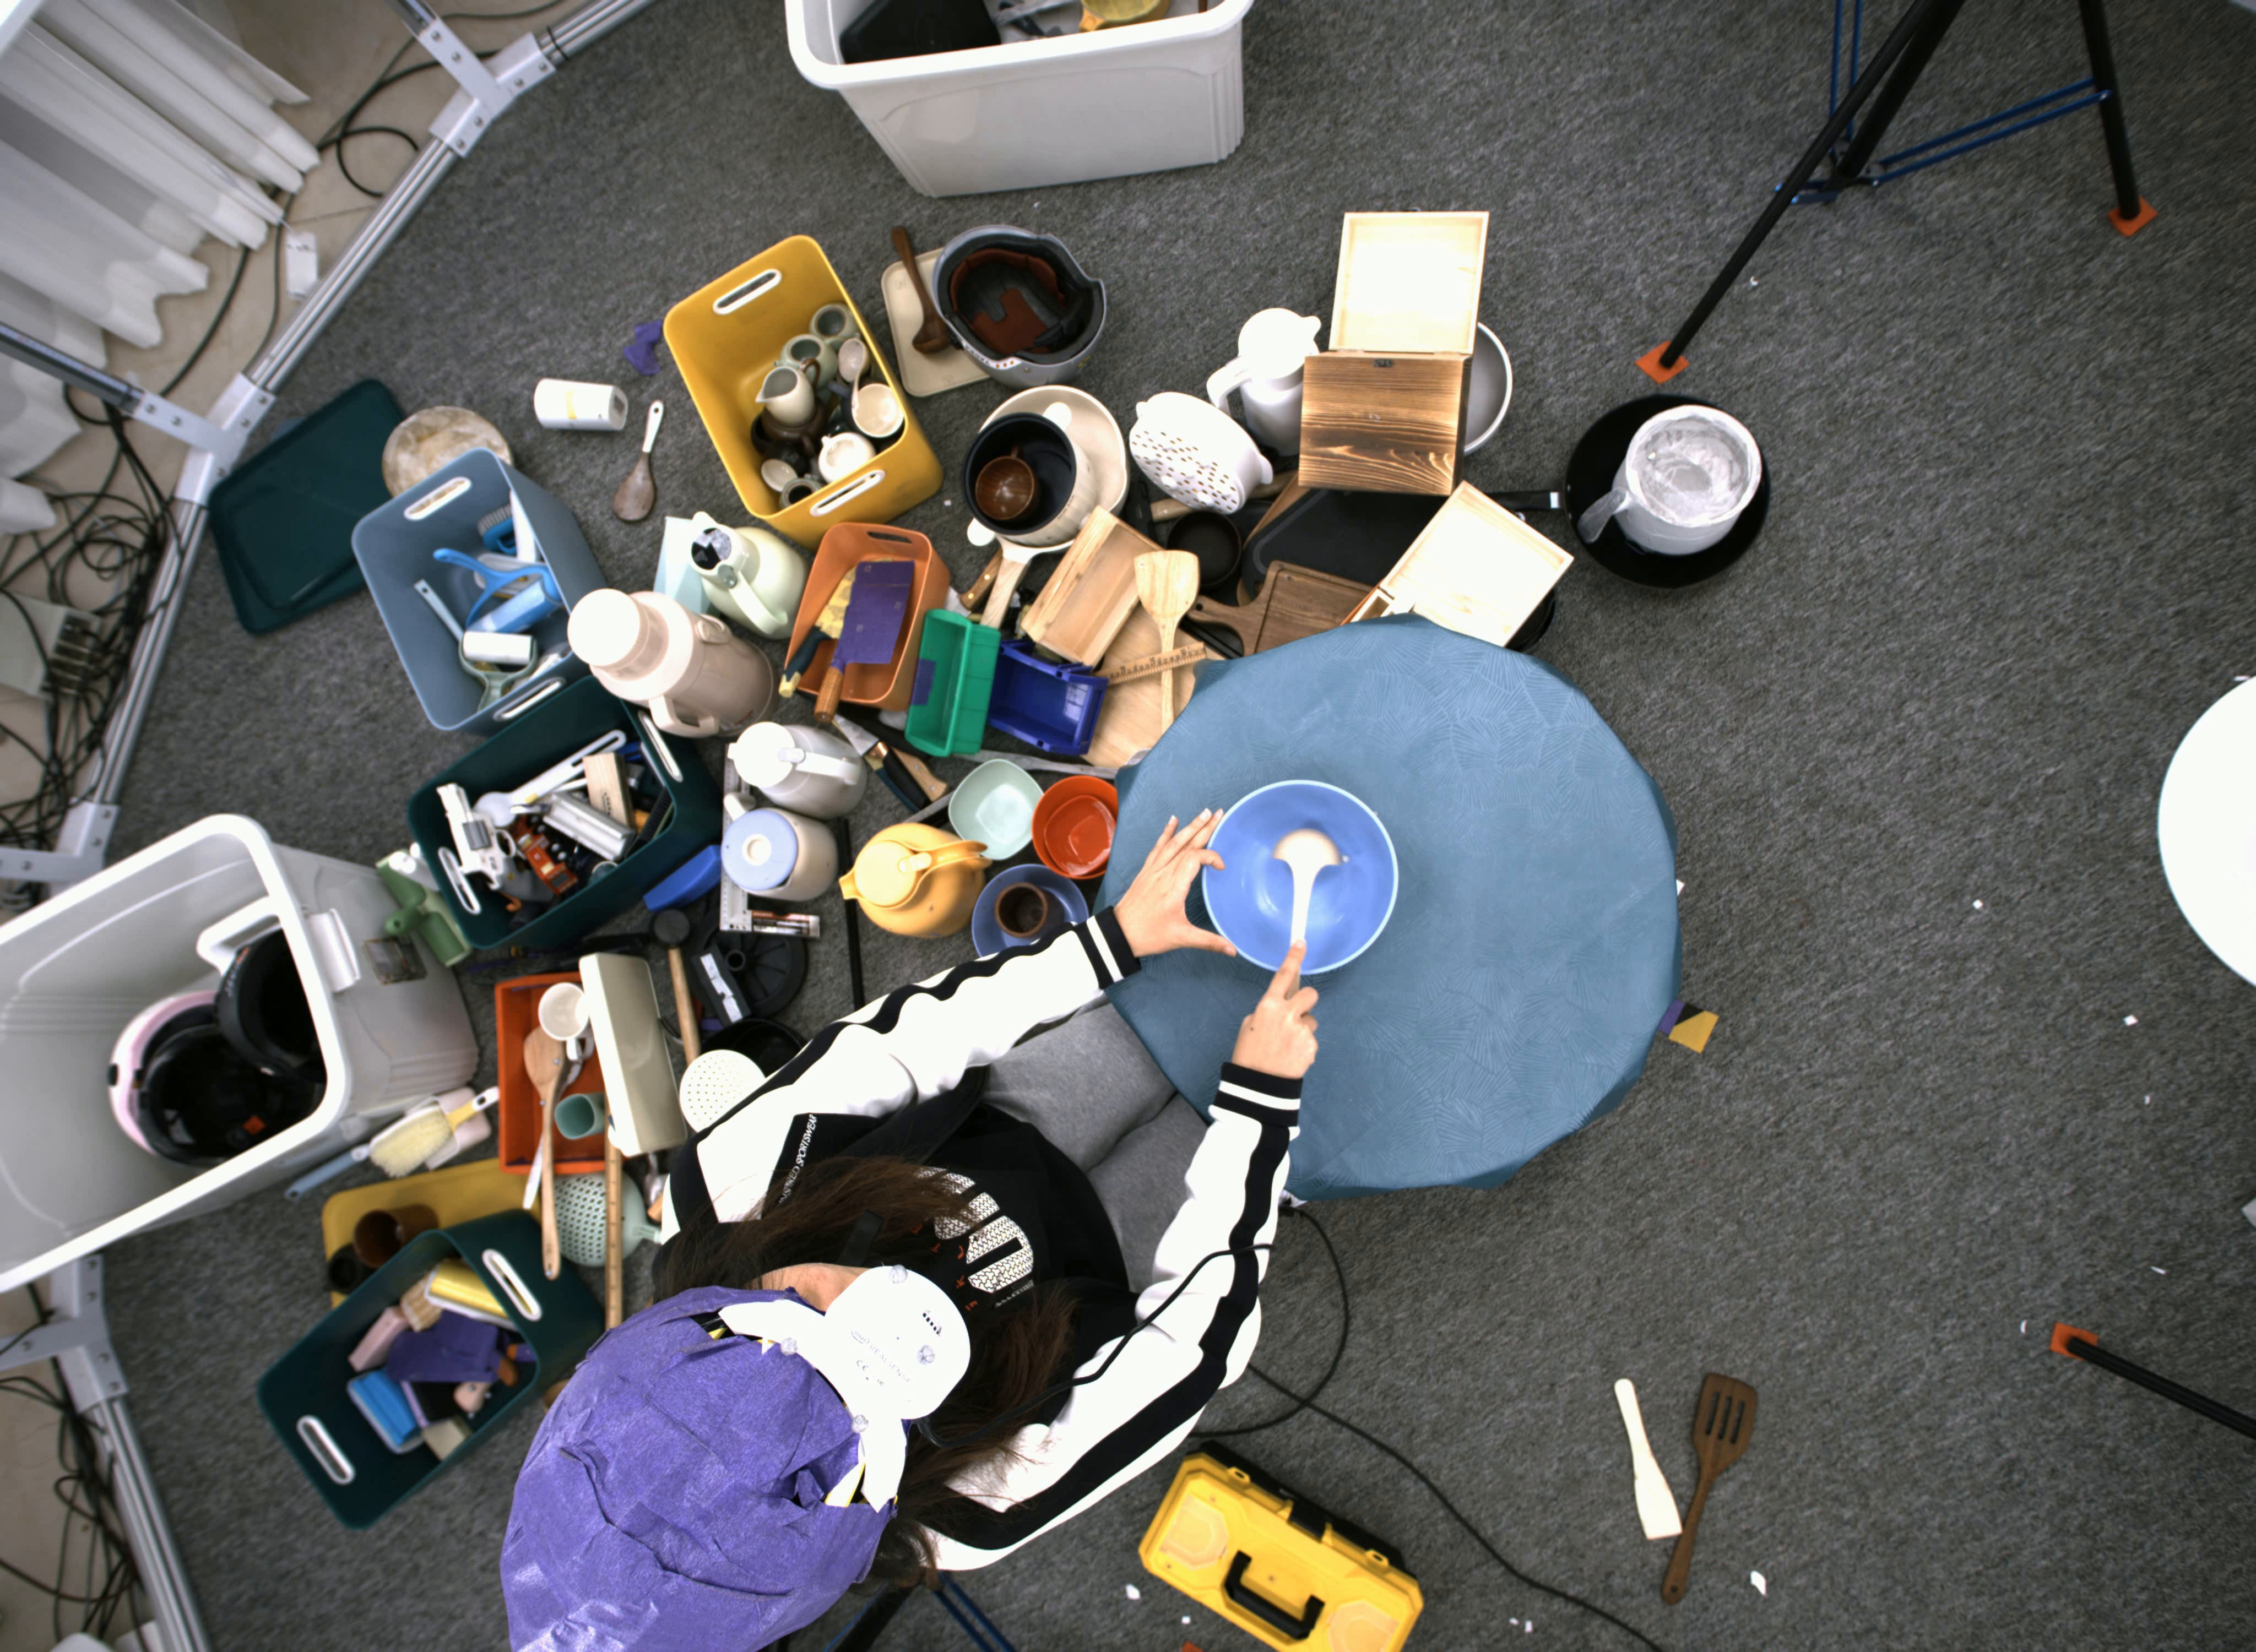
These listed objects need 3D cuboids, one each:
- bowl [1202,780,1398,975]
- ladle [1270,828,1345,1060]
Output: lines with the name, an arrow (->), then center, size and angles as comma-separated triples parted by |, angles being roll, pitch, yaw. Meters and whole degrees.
bowl -> 0.179, 0.054, 1.433 | 0.197, 0.095, 0.196 | -1, 88, 10
ladle -> 0.169, 0.122, 1.392 | 0.072, 0.074, 0.249 | 10, 69, 7
